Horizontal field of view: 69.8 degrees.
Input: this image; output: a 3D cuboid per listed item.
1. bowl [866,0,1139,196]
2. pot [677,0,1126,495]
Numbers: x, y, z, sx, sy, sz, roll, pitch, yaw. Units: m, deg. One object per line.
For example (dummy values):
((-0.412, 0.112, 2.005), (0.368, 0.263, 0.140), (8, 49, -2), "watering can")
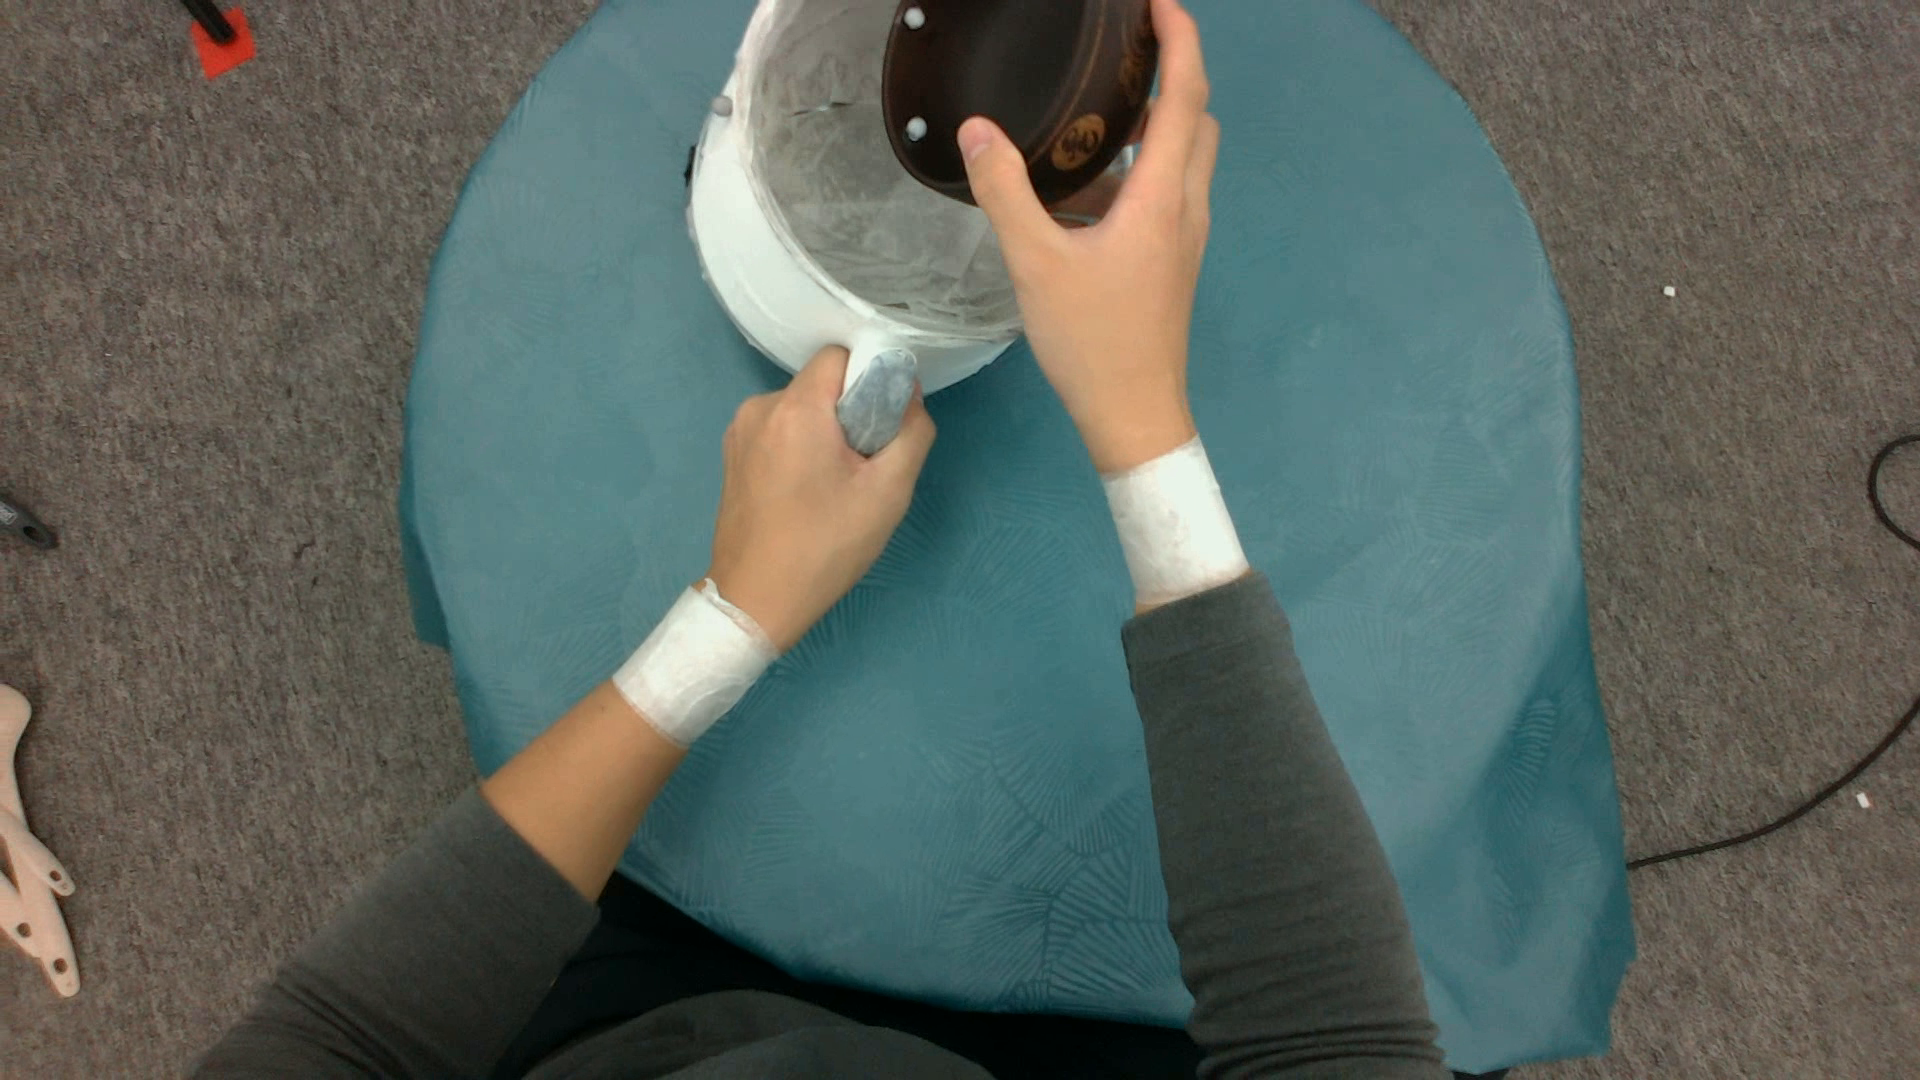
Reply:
((0.024, -0.197, 0.559), (0.070, 0.117, 0.118), (4, 77, -43), "bowl")
((-0.037, -0.138, 0.629), (0.179, 0.136, 0.234), (14, 78, -19), "pot")
